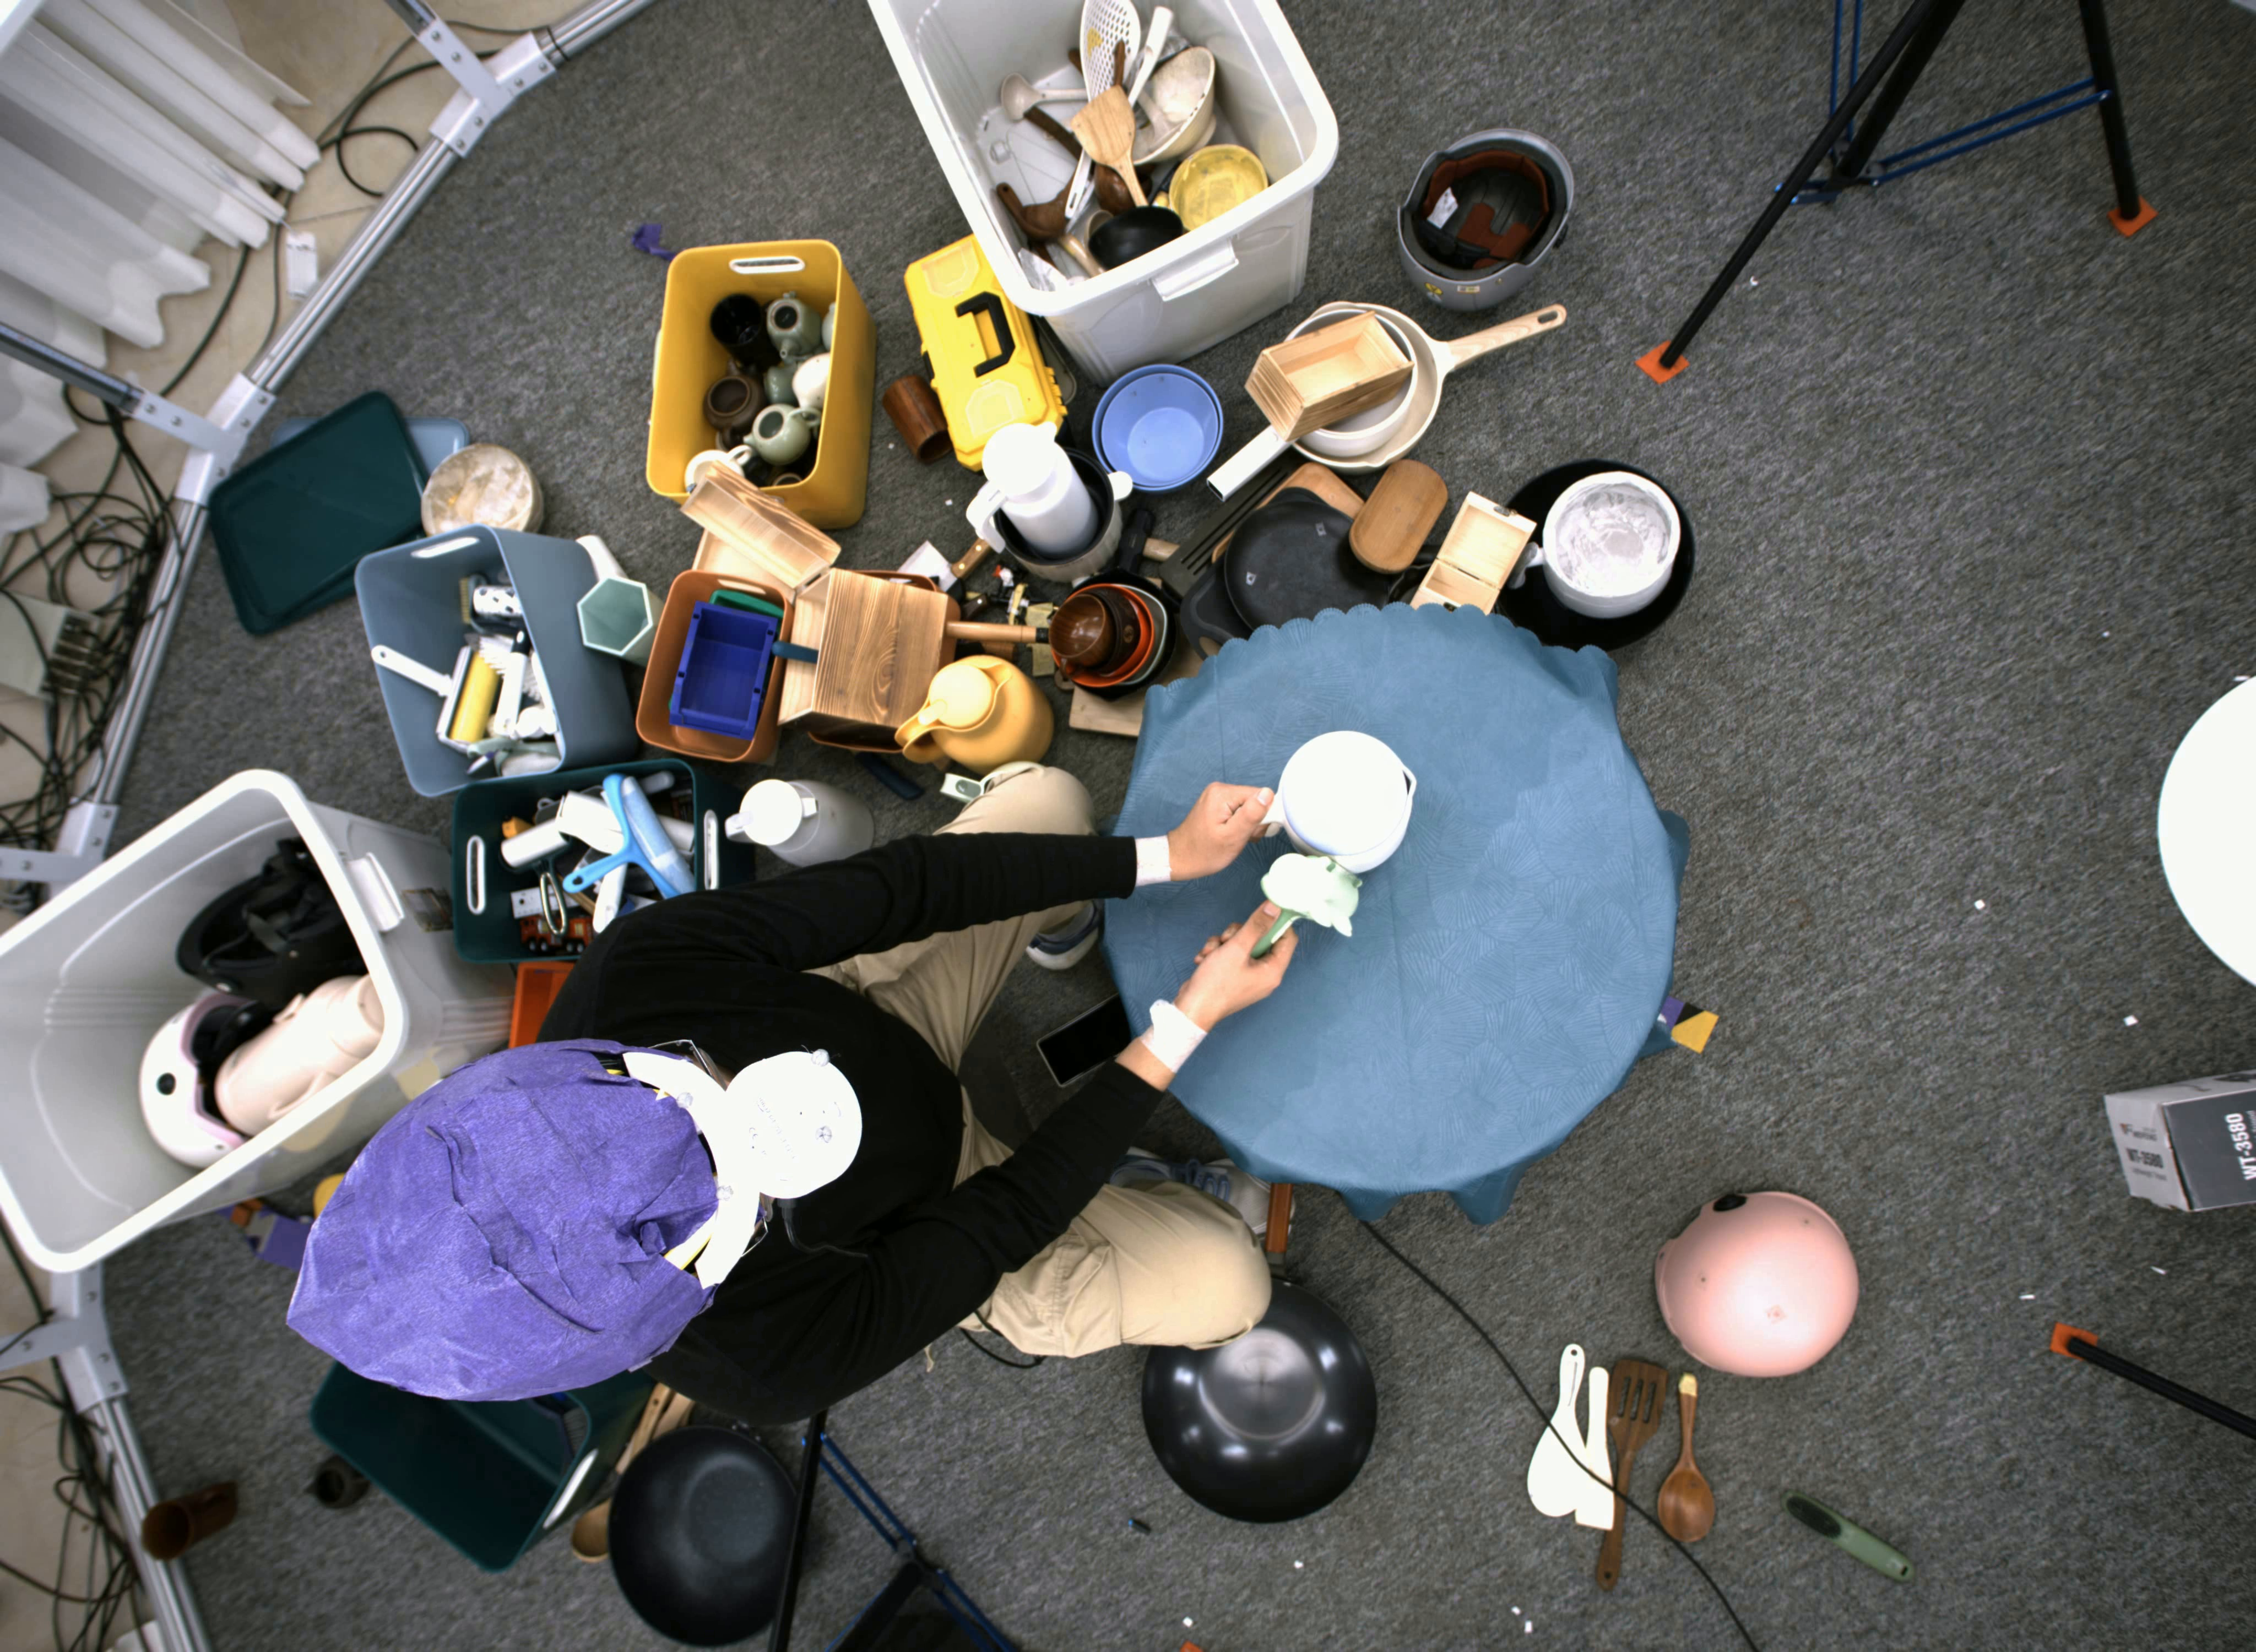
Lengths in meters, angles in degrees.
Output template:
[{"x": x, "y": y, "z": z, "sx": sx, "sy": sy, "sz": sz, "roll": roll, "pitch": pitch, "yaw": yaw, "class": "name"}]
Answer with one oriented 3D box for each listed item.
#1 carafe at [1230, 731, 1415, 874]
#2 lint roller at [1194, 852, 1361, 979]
[{"x": 0.195, "y": -0.017, "z": 1.392, "sx": 0.192, "sy": 0.183, "sz": 0.131, "roll": -13, "pitch": 82, "yaw": 11, "class": "carafe"}, {"x": 0.152, "y": 0.105, "z": 1.377, "sx": 0.185, "sy": 0.199, "sz": 0.081, "roll": -46, "pitch": 72, "yaw": 9, "class": "lint roller"}]
